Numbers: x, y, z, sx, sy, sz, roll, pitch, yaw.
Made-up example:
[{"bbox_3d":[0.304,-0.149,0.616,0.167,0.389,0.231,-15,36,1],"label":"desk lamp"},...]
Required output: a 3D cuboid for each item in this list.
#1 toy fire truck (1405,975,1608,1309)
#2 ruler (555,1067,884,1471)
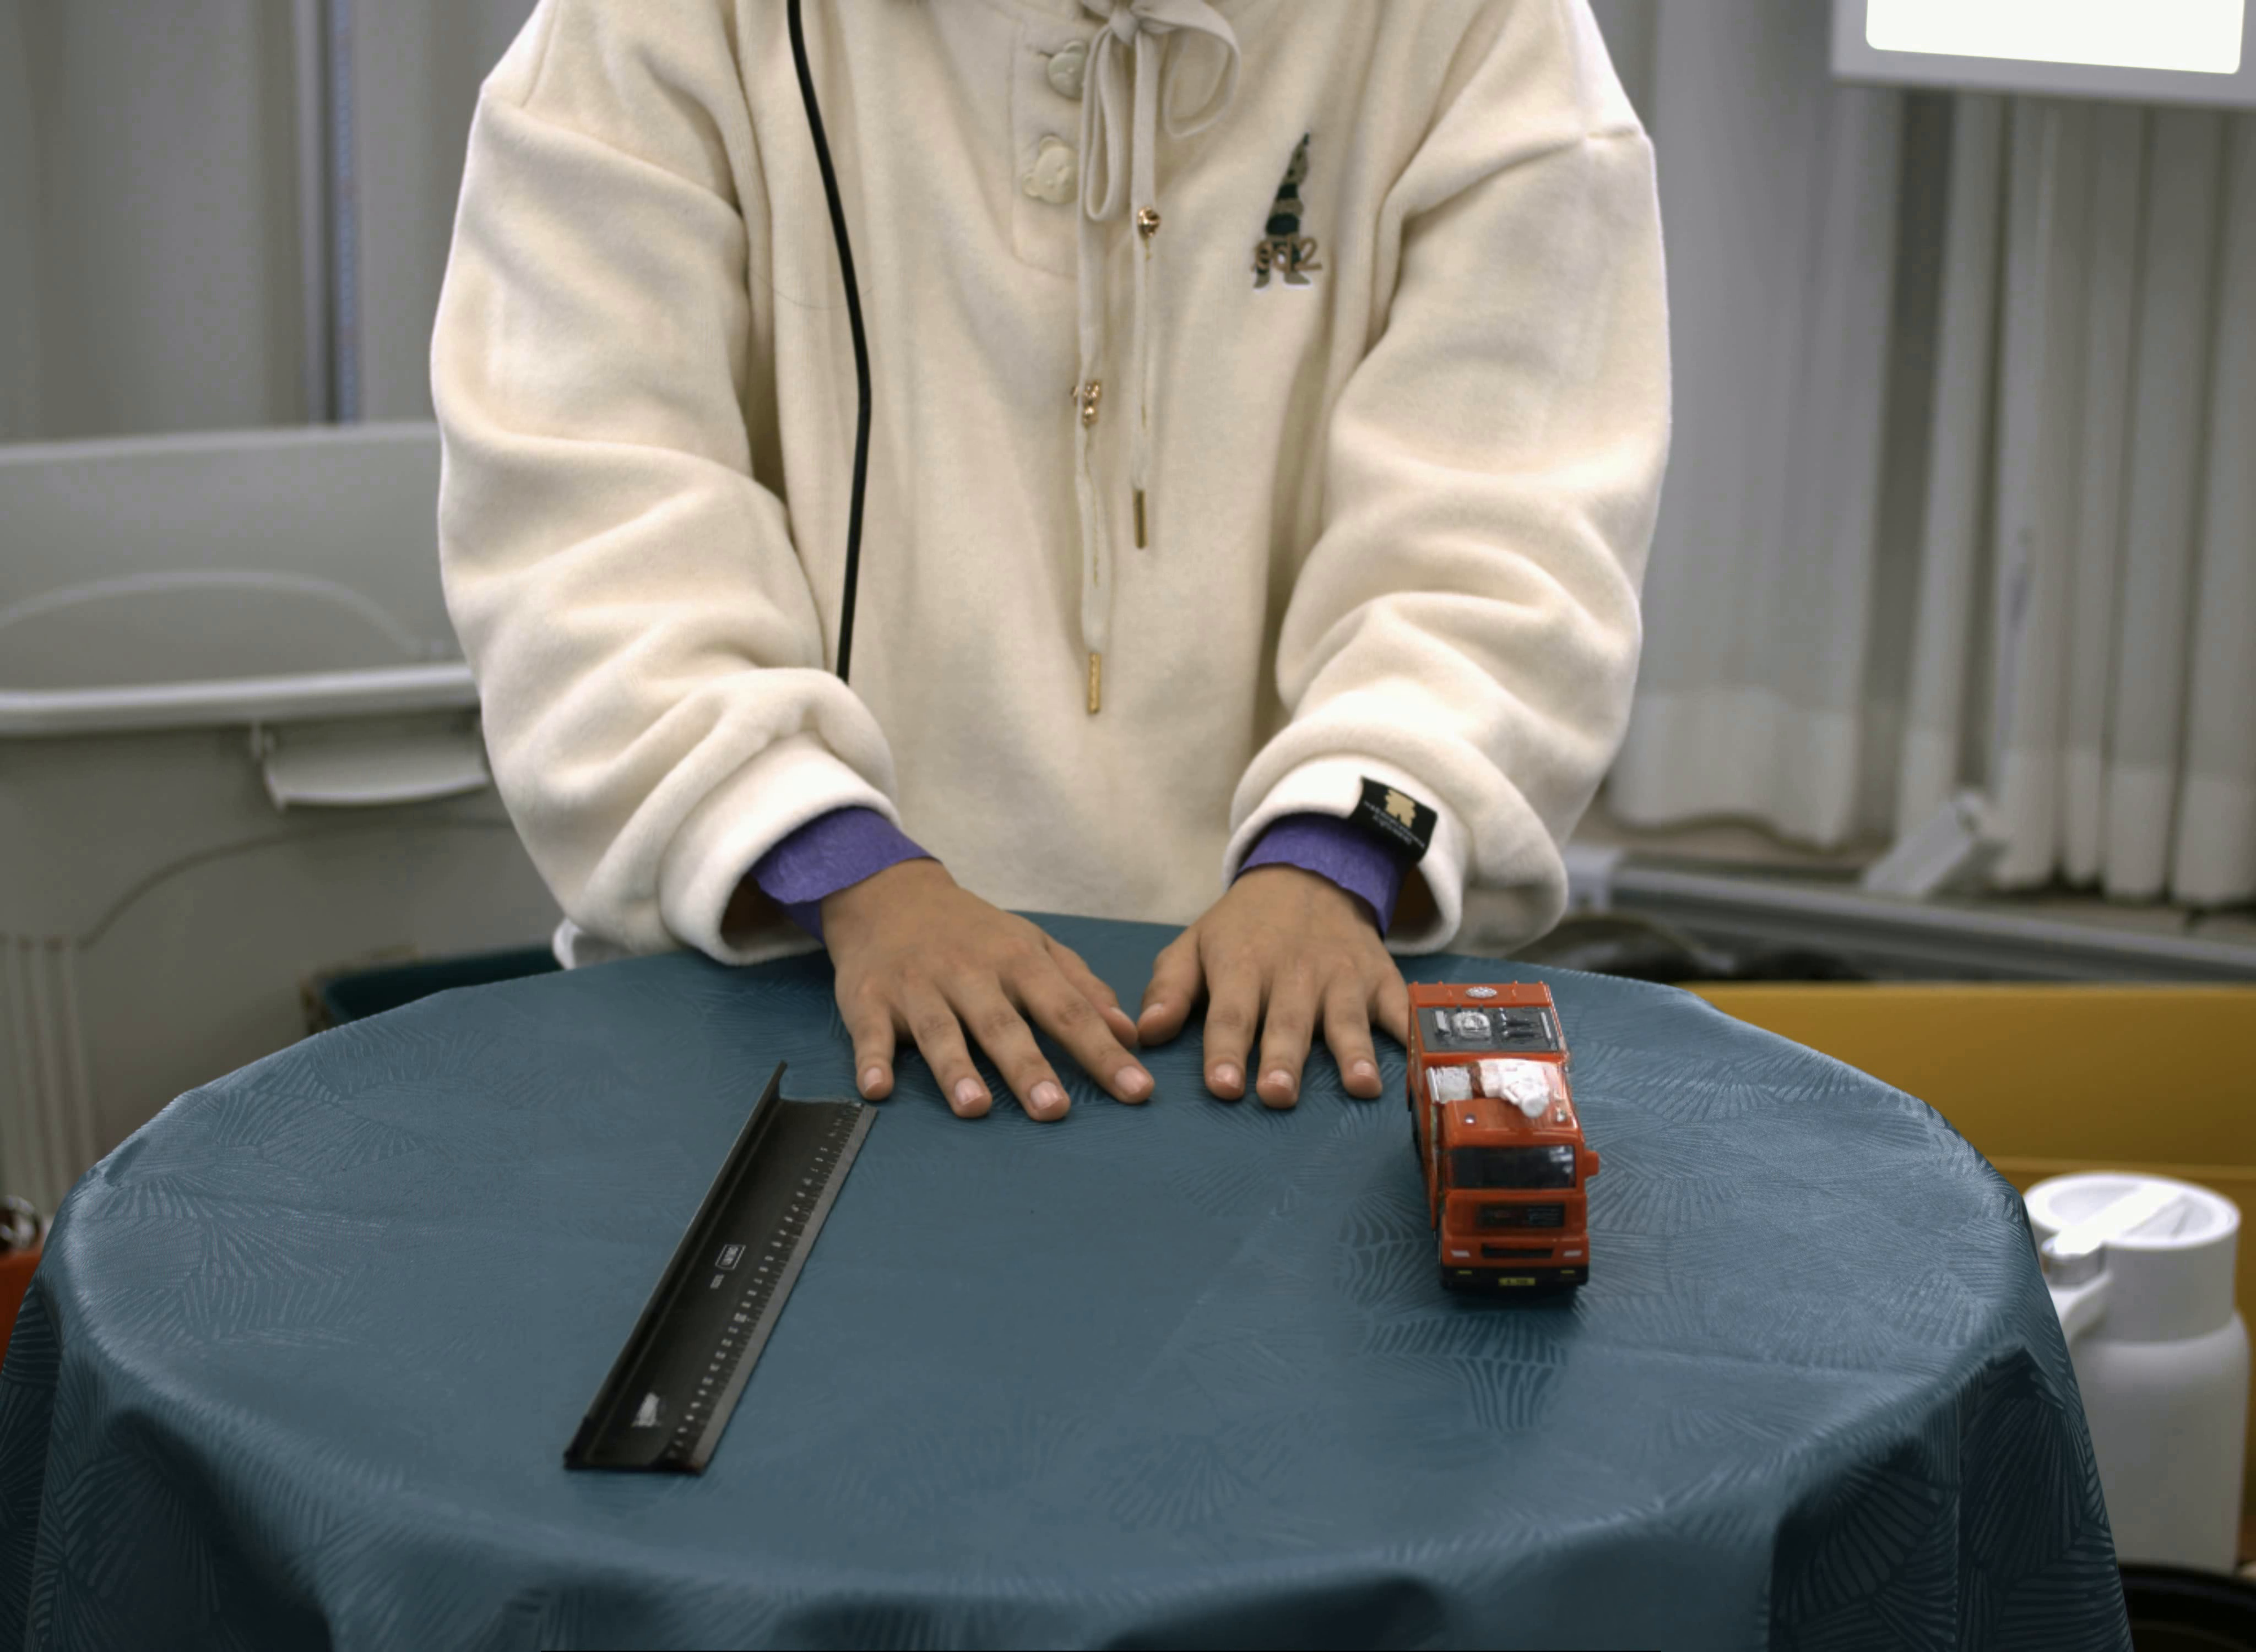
[{"bbox_3d":[0.113,0.092,1.589,0.054,0.071,0.167,-1,14,0],"label":"toy fire truck"},{"bbox_3d":[-0.115,0.124,1.544,0.039,0.017,0.311,5,16,6],"label":"ruler"}]
